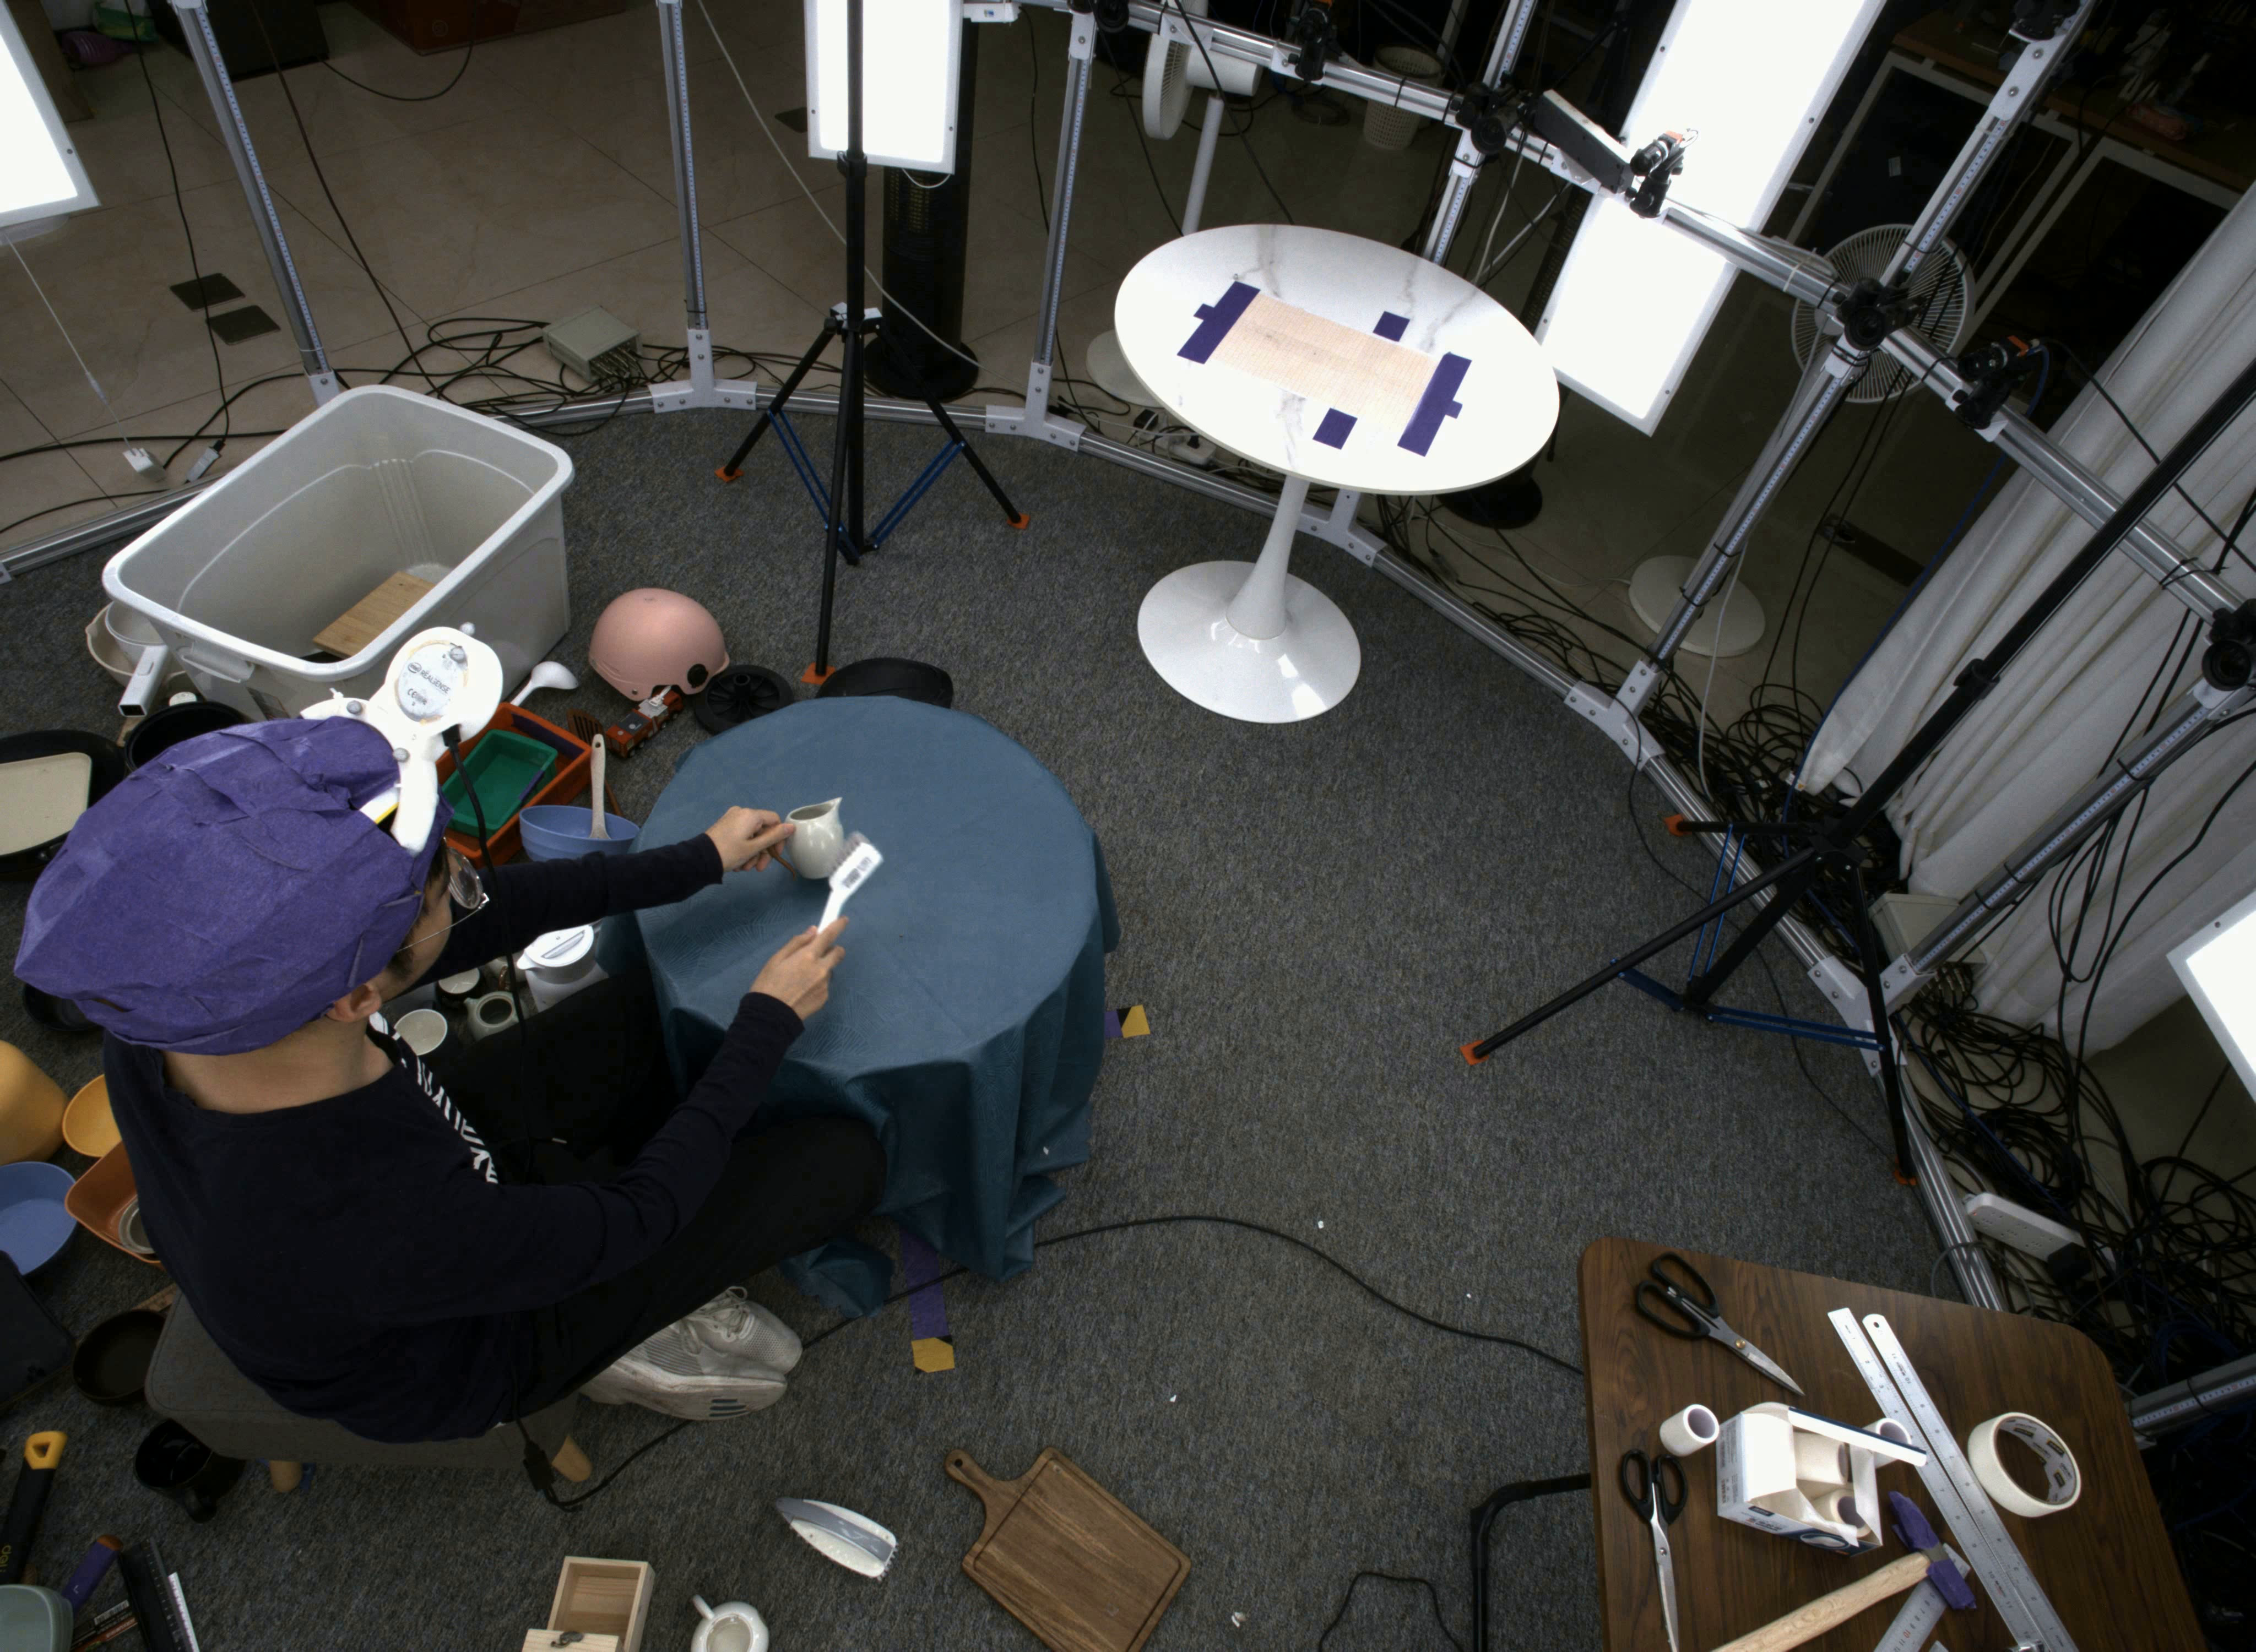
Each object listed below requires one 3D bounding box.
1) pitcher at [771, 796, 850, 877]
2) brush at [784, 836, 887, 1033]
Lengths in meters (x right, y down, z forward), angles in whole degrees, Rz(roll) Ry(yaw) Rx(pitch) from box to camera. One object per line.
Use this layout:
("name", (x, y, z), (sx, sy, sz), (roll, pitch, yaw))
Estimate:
("pitcher", (-0.399, 0.017, 1.651), (0.073, 0.090, 0.120), (14, 24, 43))
("brush", (-0.358, 0.124, 1.532), (0.048, 0.035, 0.244), (19, 75, 24))
